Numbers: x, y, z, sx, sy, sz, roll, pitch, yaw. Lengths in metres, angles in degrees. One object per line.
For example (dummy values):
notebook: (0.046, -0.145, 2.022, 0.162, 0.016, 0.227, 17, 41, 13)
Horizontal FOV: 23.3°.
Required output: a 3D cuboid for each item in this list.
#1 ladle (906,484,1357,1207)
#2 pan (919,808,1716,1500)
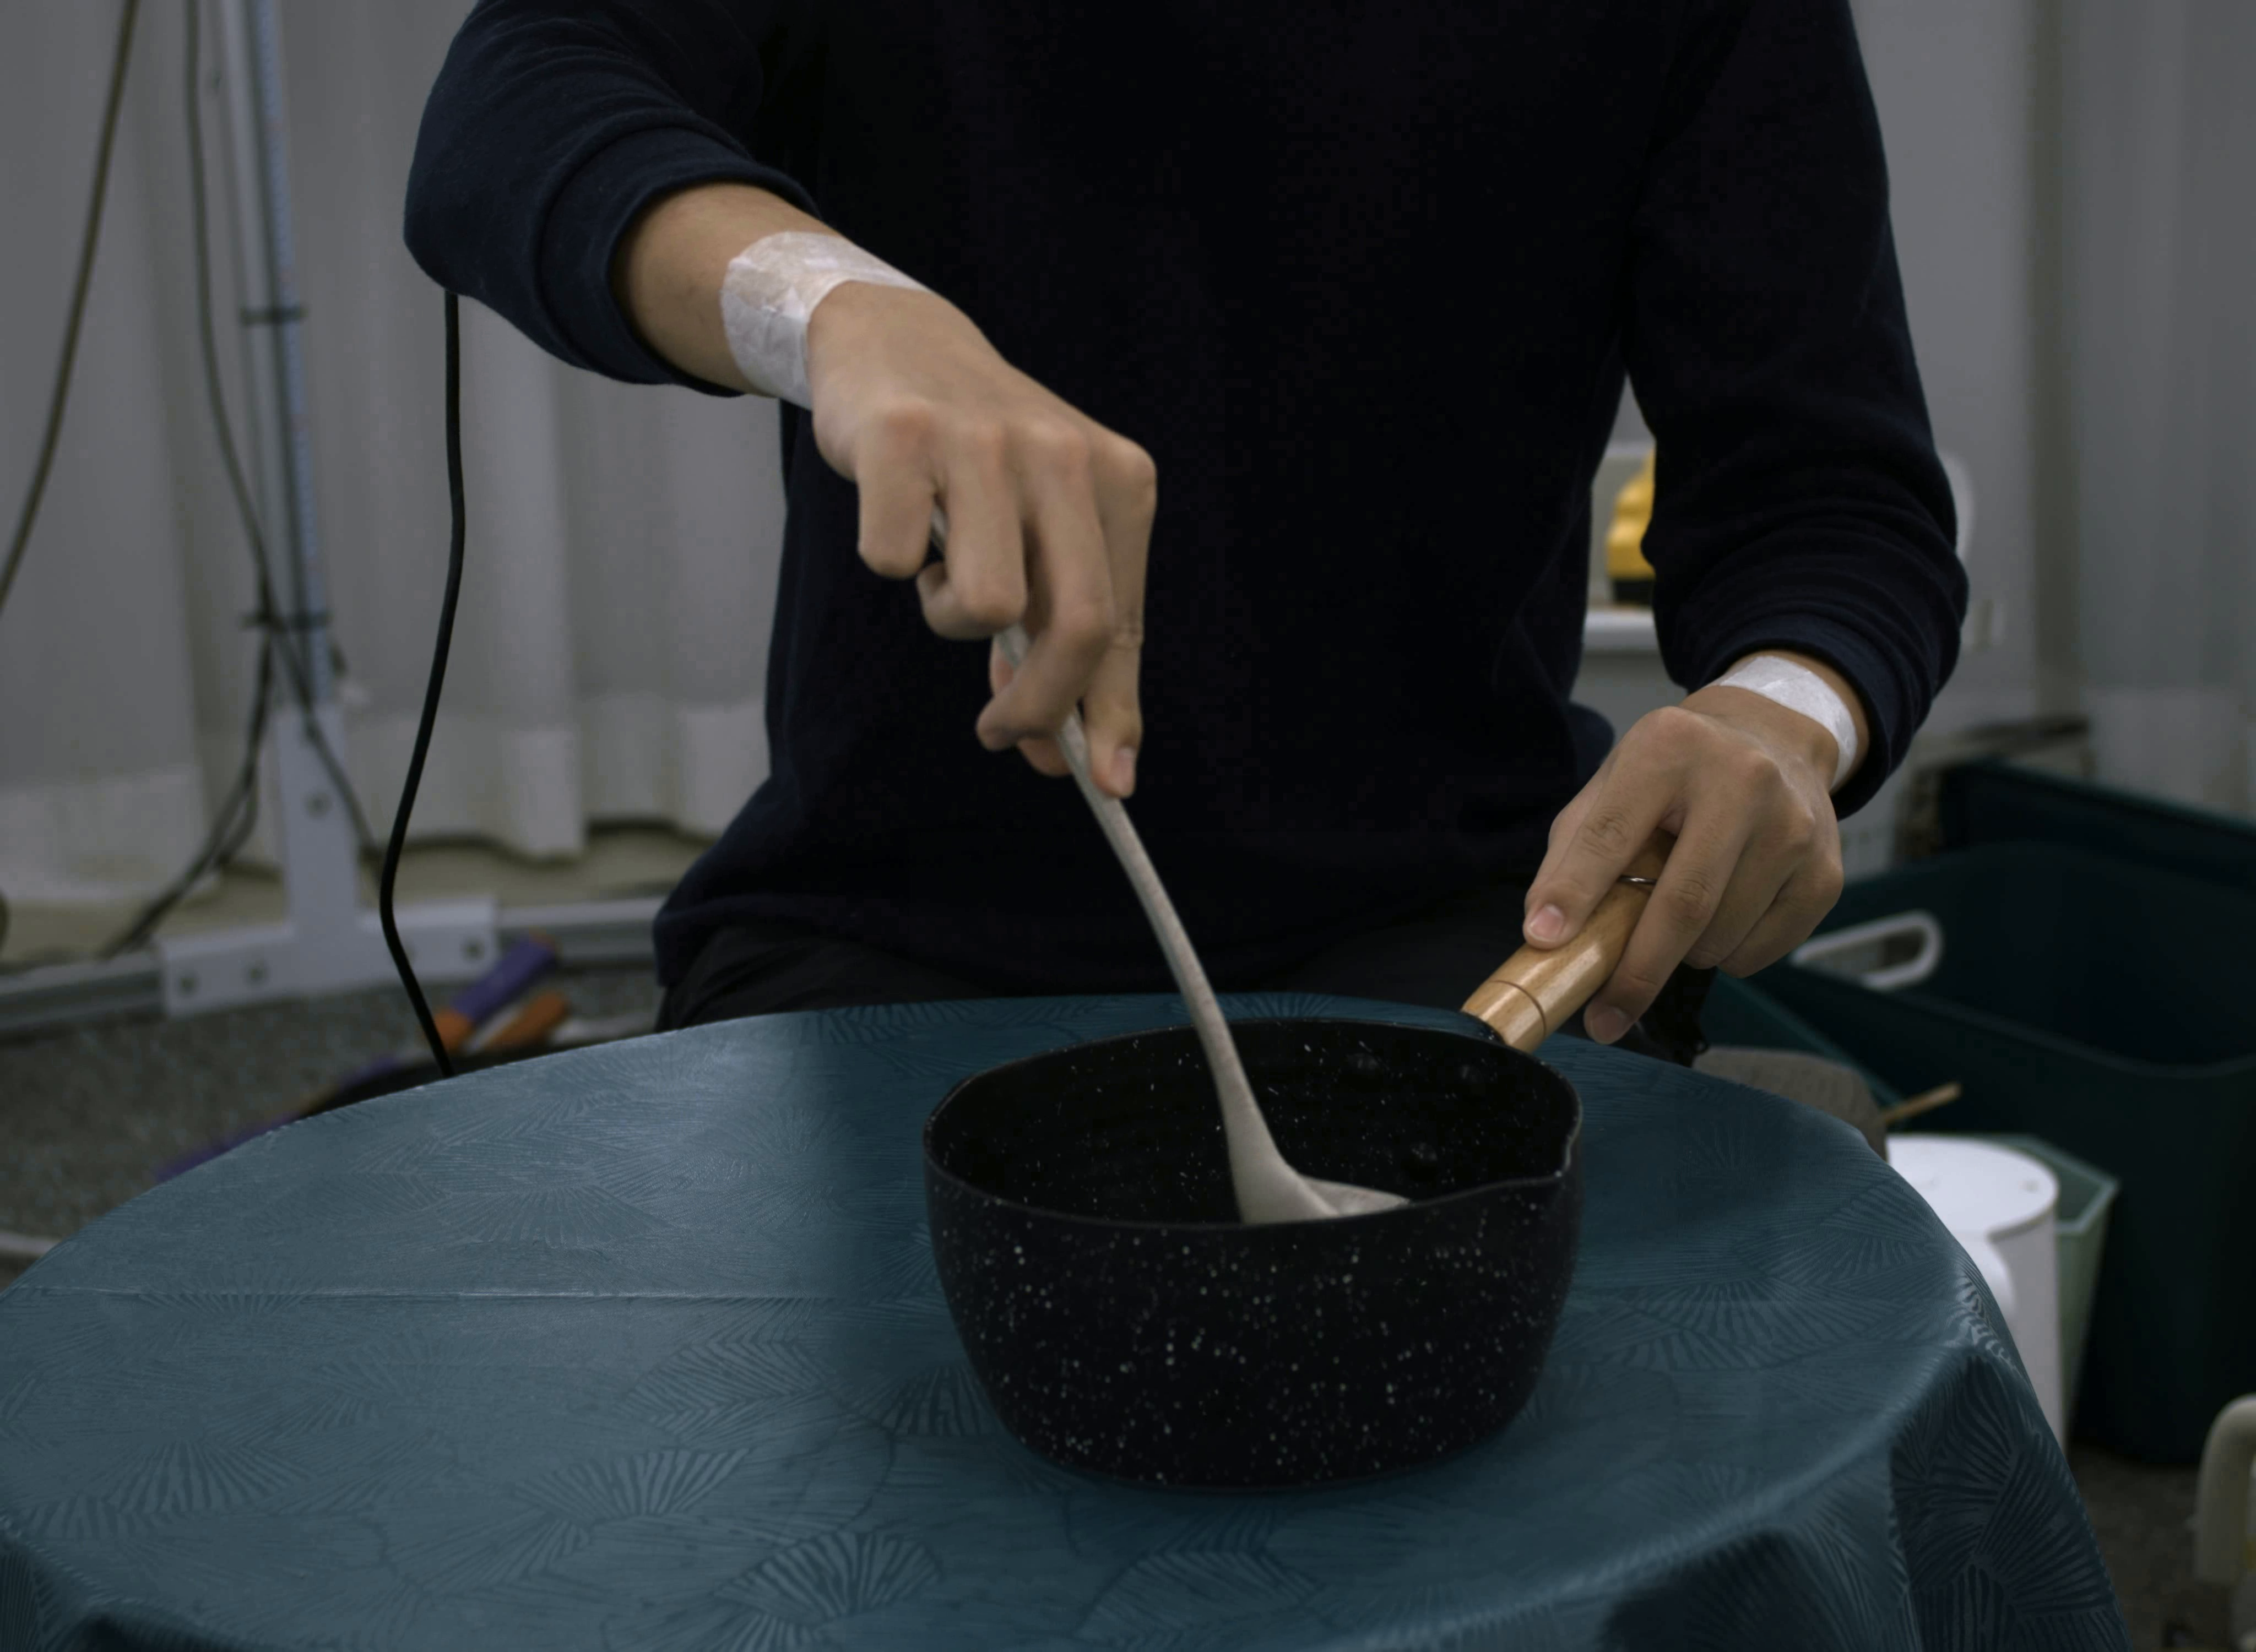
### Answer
ladle: (0.025, 0.017, 1.495, 0.069, 0.273, 0.090, -25, 13, -6)
pan: (0.079, 0.090, 1.585, 0.208, 0.108, 0.343, 6, 18, 33)
